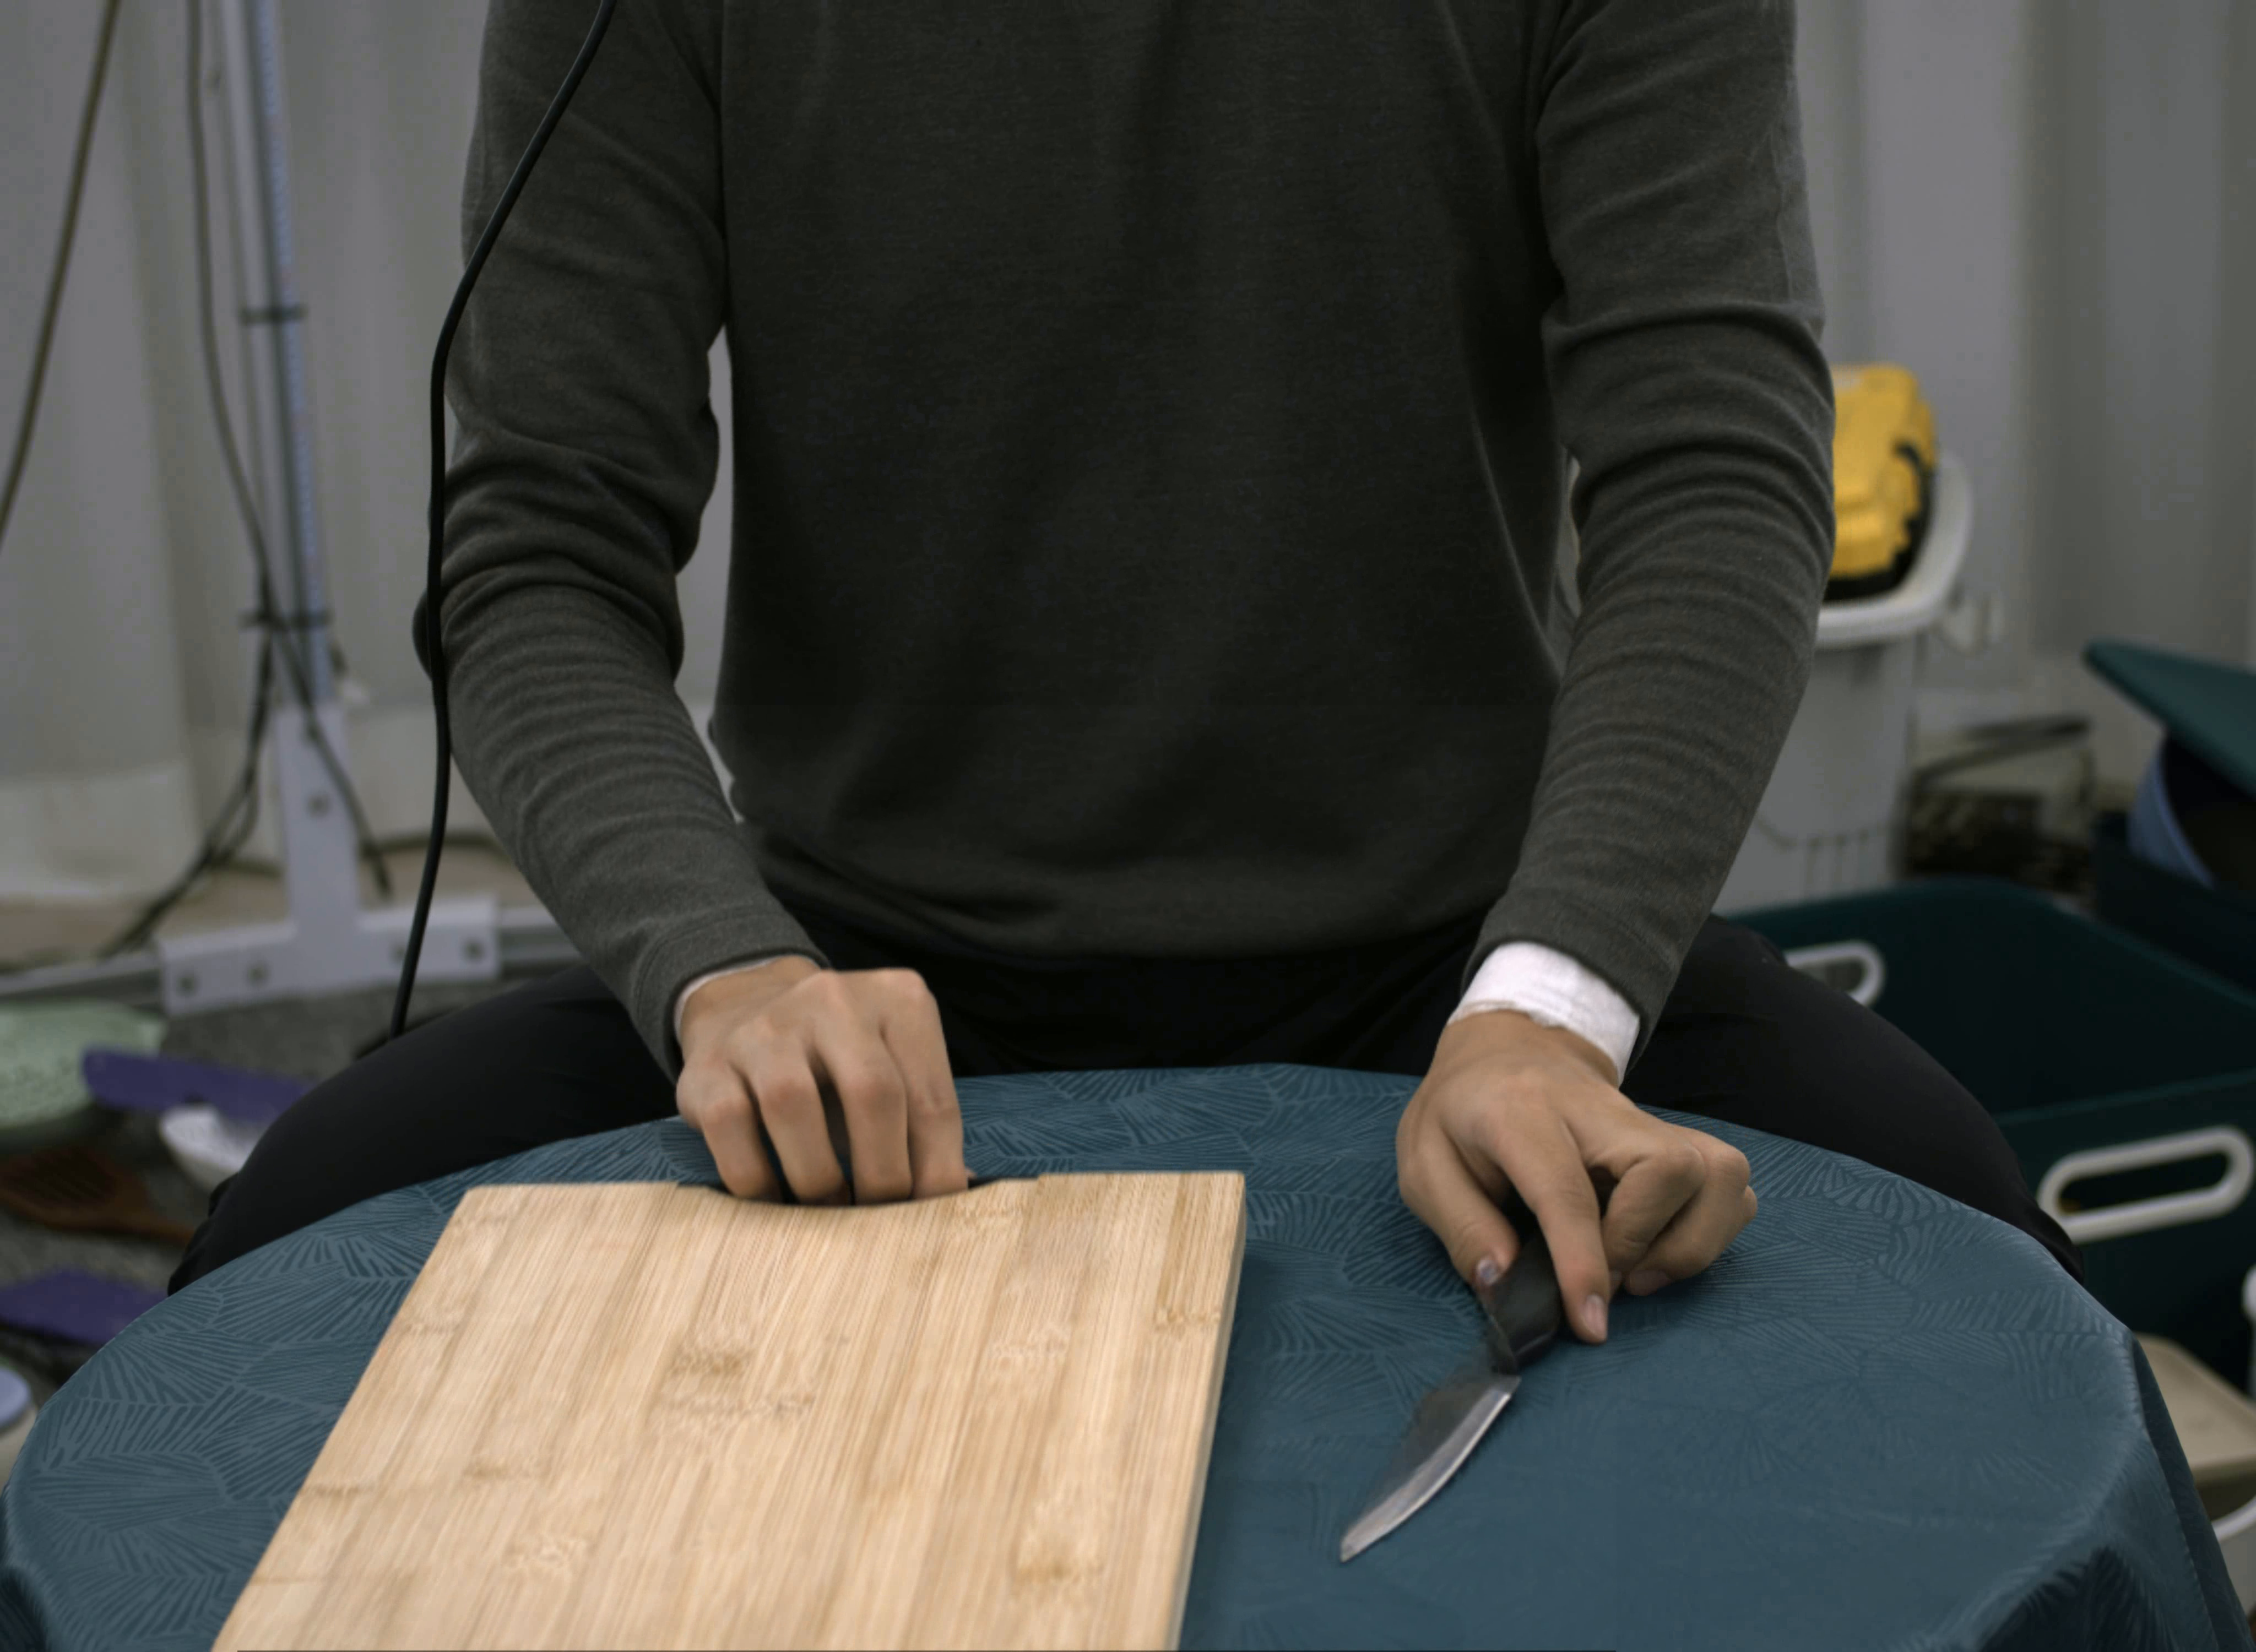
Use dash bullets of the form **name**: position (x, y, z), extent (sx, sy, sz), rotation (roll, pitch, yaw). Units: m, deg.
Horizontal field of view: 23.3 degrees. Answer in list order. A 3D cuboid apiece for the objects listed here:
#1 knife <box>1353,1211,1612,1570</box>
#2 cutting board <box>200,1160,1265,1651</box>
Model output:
- **knife**: position (0.096, 0.156, 1.521), extent (0.024, 0.016, 0.239), rotation (7, 20, 18)
- **cutting board**: position (-0.094, 0.162, 1.504), extent (0.250, 0.023, 0.351), rotation (-1, 17, 5)
